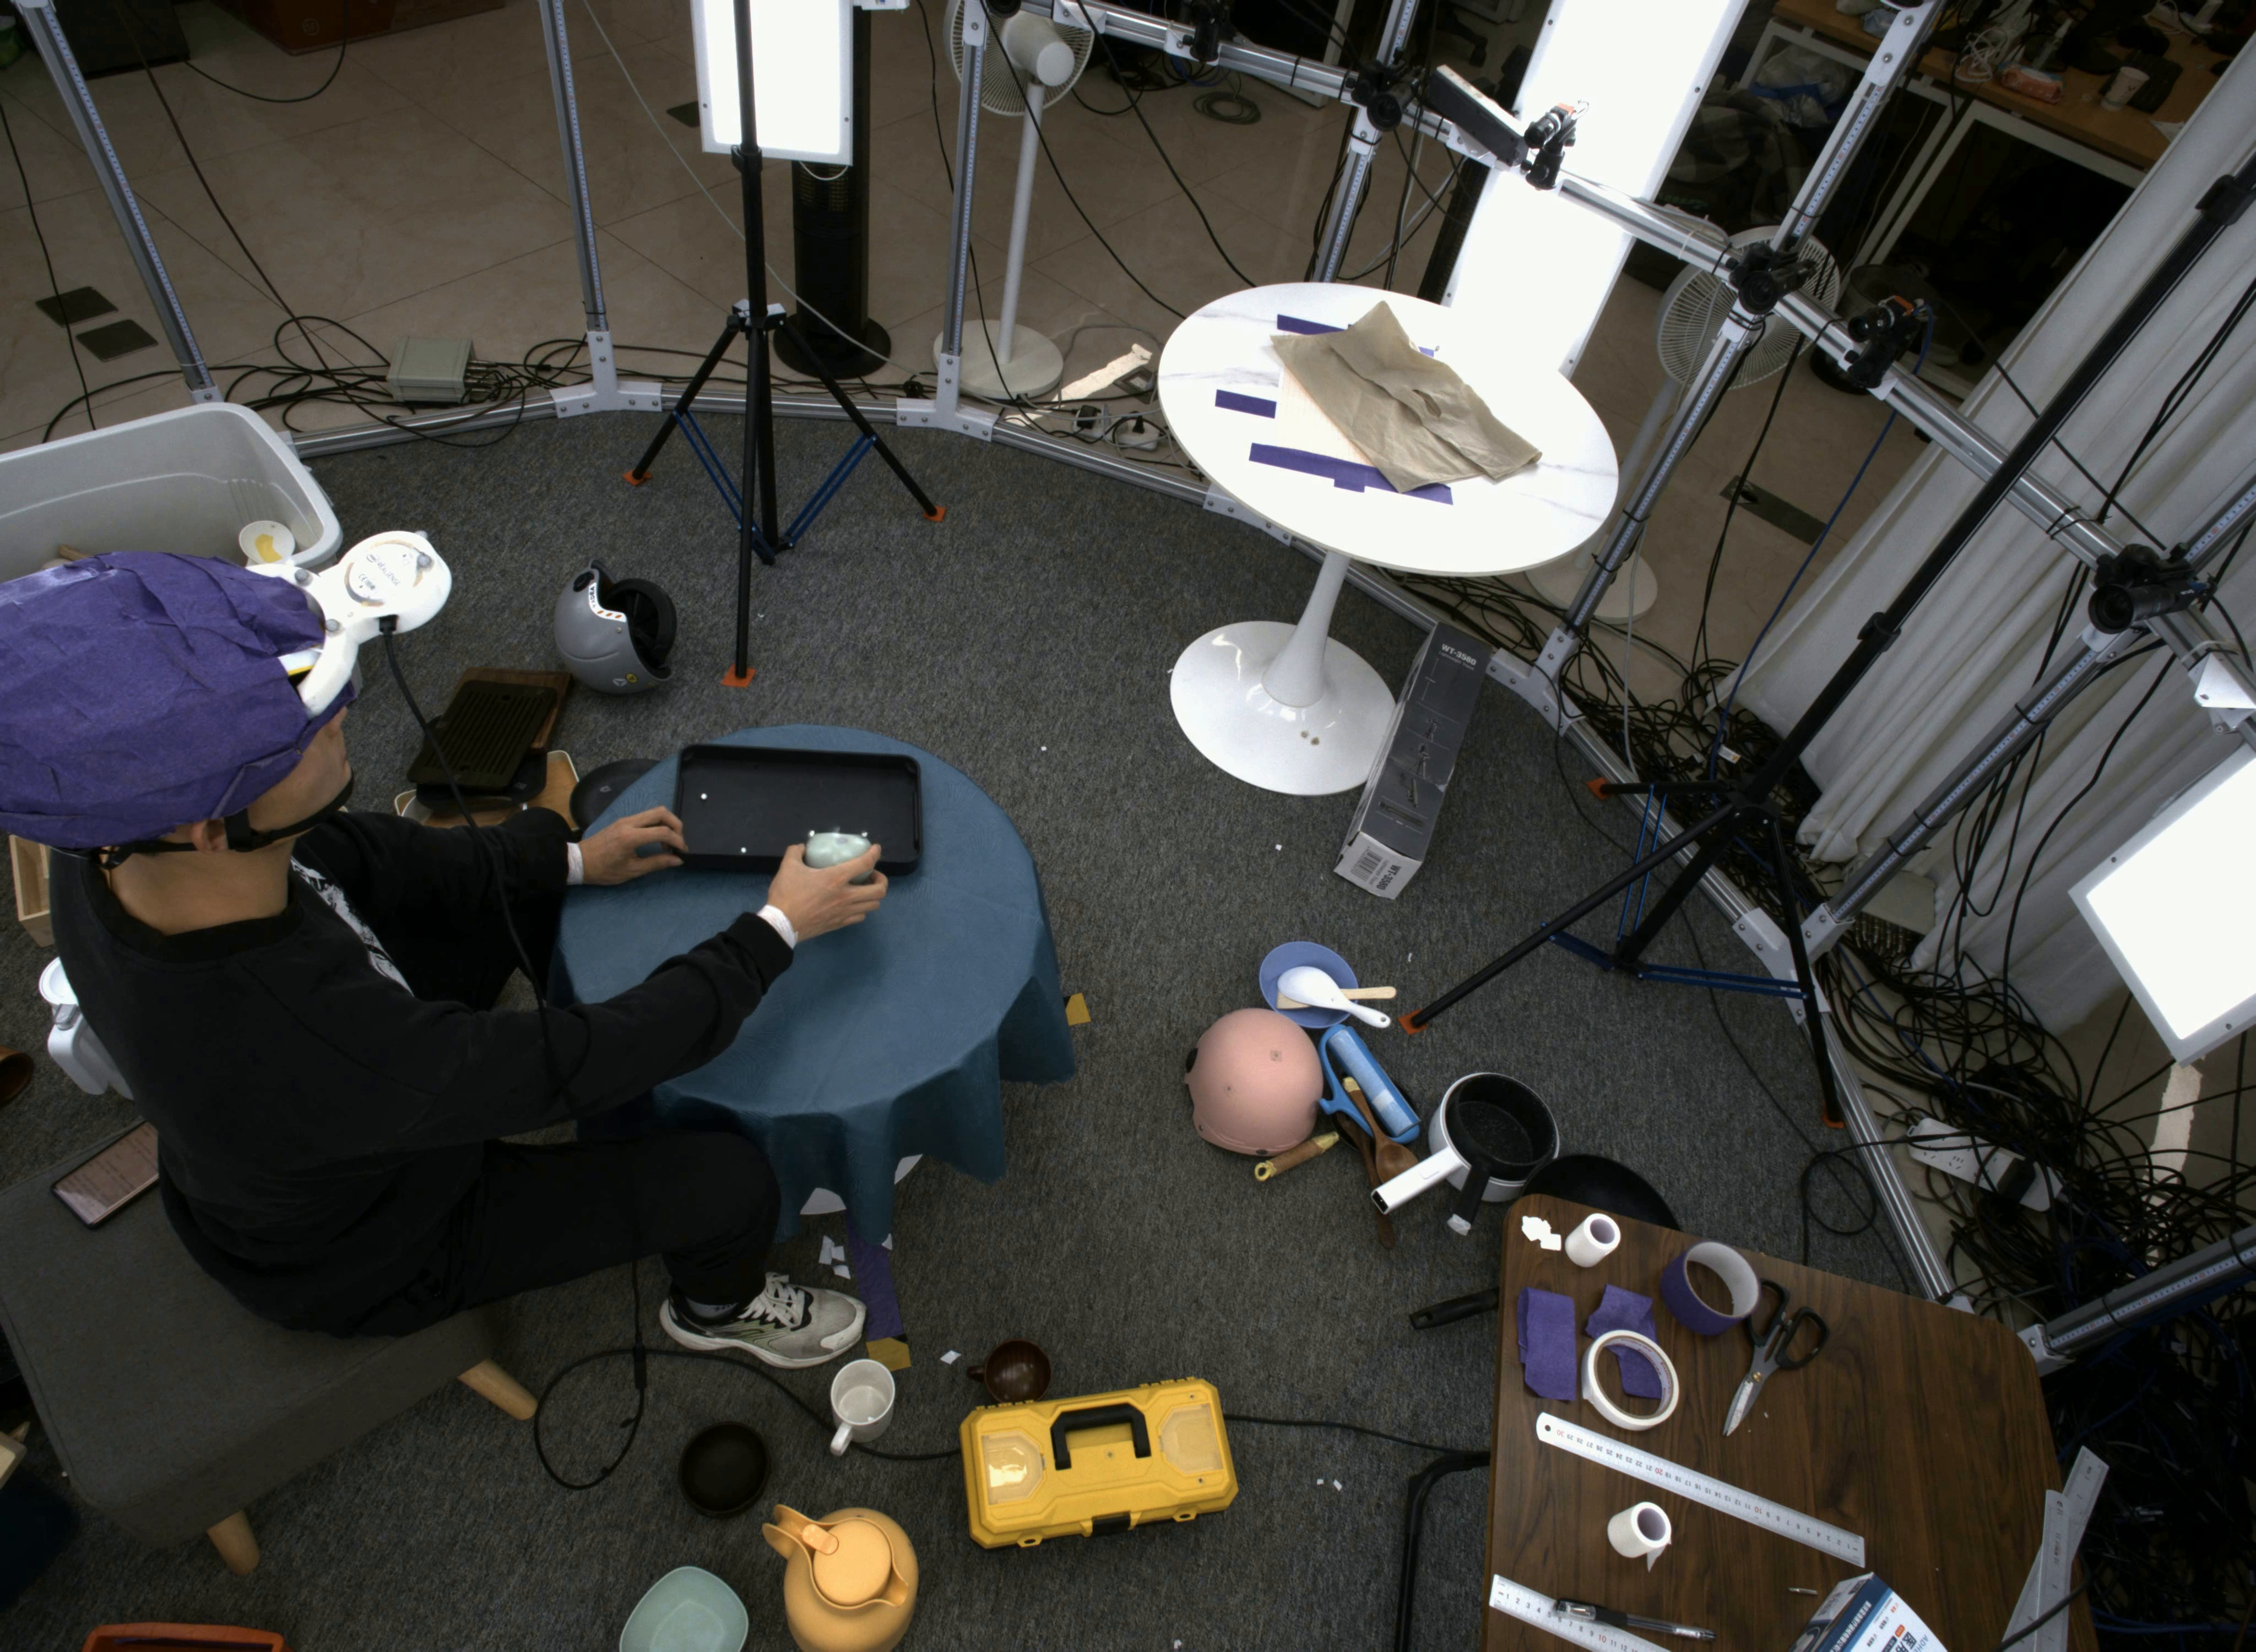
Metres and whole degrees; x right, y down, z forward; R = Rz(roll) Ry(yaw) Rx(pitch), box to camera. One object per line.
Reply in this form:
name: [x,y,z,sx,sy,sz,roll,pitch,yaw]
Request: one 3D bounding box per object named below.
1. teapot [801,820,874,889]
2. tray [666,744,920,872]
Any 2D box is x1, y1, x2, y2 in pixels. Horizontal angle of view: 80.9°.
teapot: [-0.354,0.037,1.581,0.089,0.142,0.075,2,82,-16]
tray: [-0.438,-0.024,1.700,0.320,0.037,0.180,1,54,-18]
